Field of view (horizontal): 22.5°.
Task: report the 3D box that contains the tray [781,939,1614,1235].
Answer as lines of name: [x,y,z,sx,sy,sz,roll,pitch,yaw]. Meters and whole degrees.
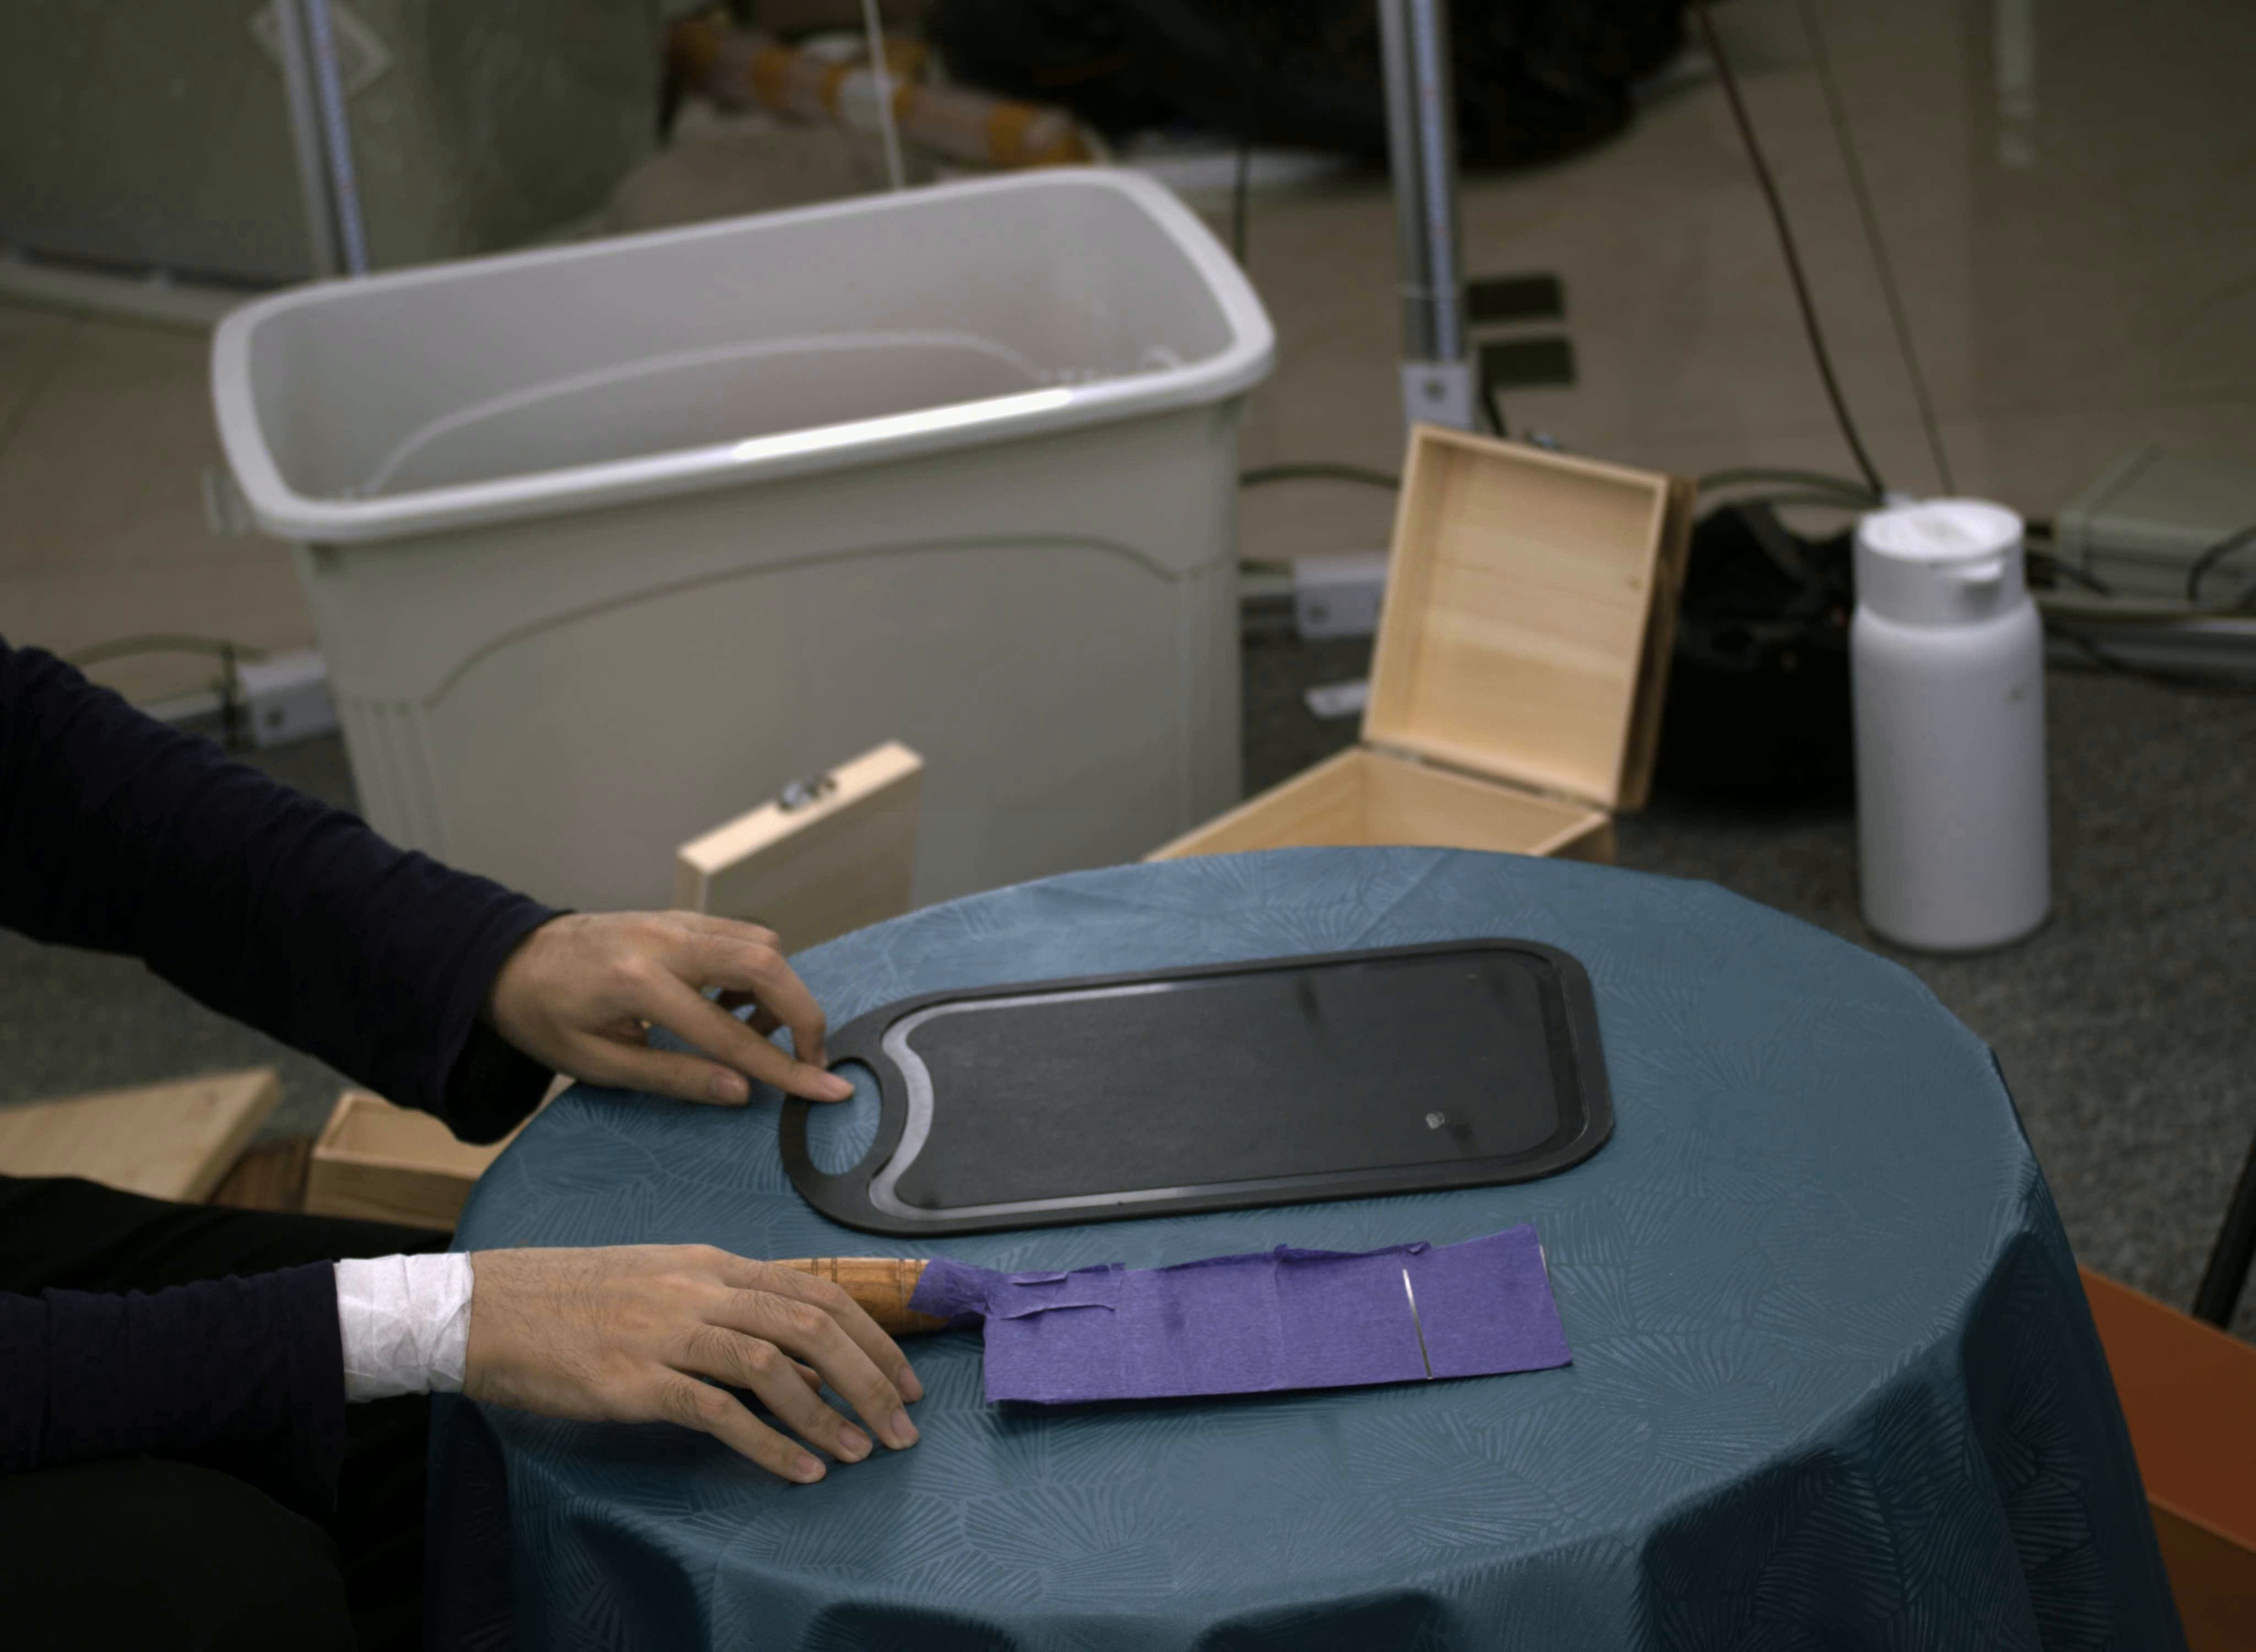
tray: [0.025,0.100,2.221,0.325,0.010,0.208,-5,25,3]

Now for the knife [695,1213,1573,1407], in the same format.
knife: [0.000,0.177,2.038,0.315,0.033,0.102,-6,24,0]
